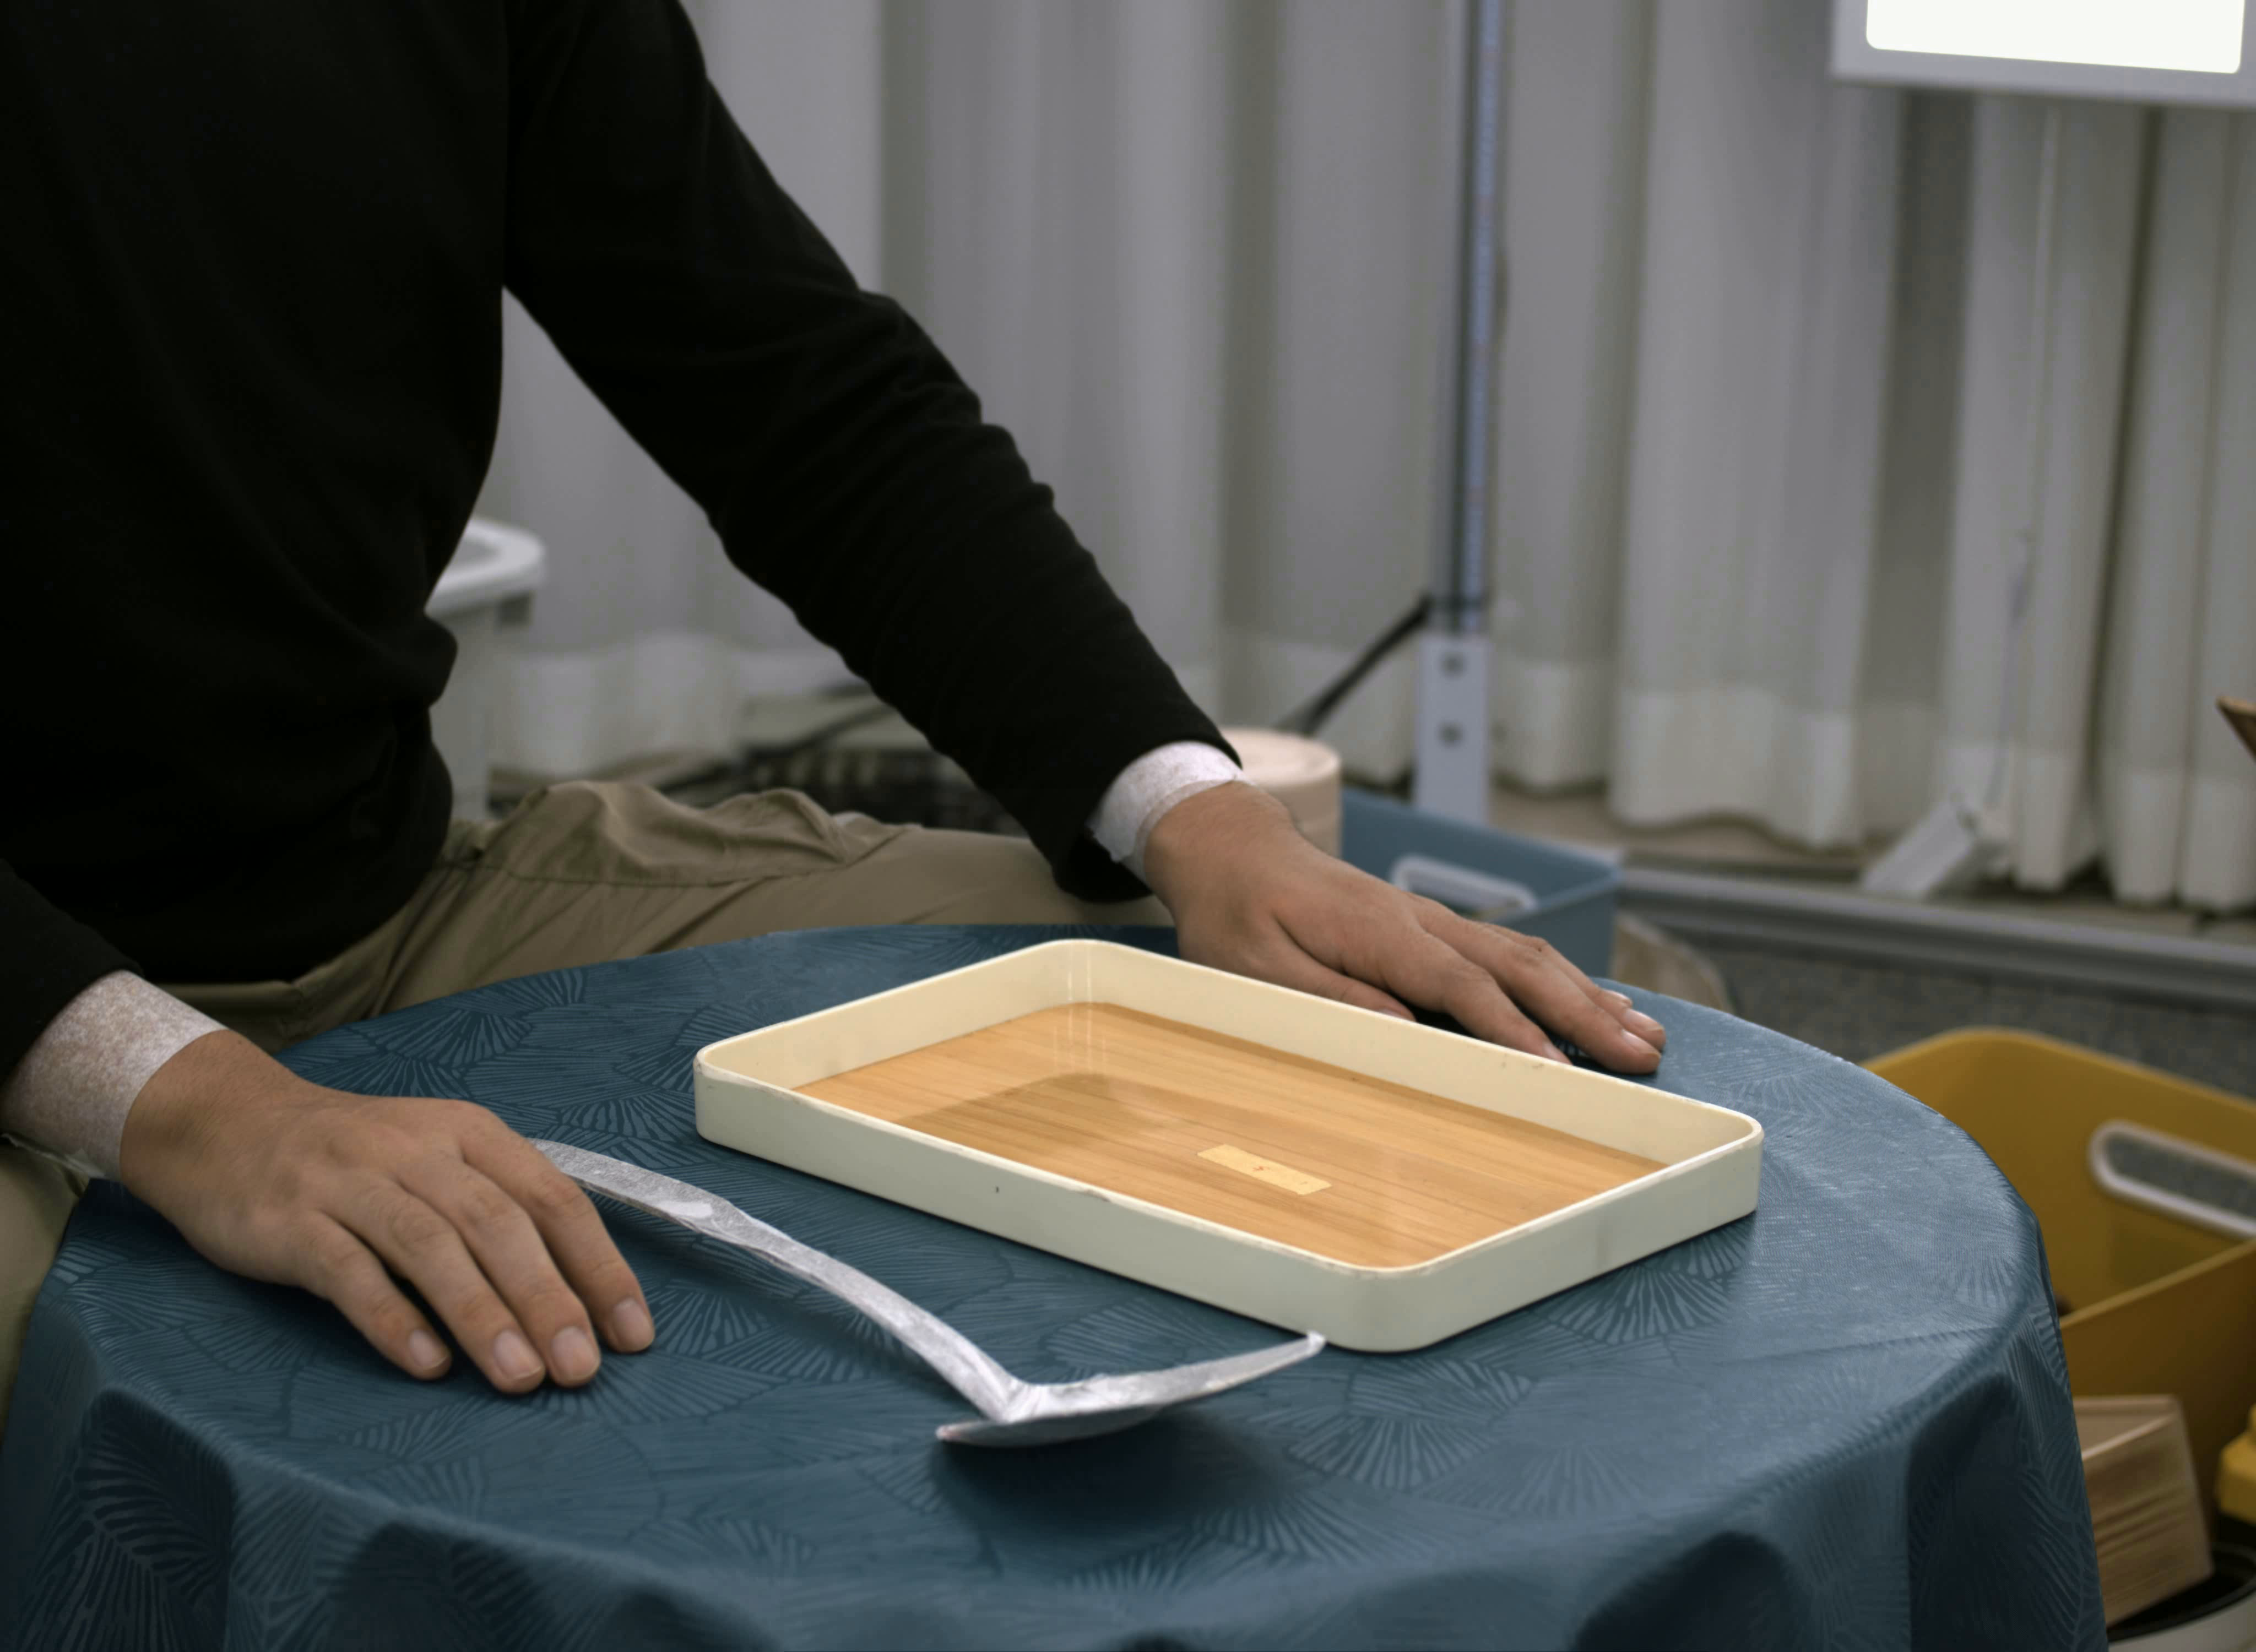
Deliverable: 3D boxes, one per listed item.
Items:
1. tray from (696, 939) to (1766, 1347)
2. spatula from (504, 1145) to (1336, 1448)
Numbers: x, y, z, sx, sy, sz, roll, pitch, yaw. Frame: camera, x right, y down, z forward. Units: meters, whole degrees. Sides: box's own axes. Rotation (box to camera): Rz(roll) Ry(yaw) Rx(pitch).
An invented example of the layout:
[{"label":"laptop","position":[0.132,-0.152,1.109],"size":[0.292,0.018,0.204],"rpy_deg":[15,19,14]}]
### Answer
[{"label":"tray","position":[0.029,0.094,1.637],"size":[0.296,0.027,0.192],"rpy_deg":[14,21,41]},{"label":"spatula","position":[-0.084,0.124,1.503],"size":[0.099,0.045,0.360],"rpy_deg":[-13,20,-37]}]
